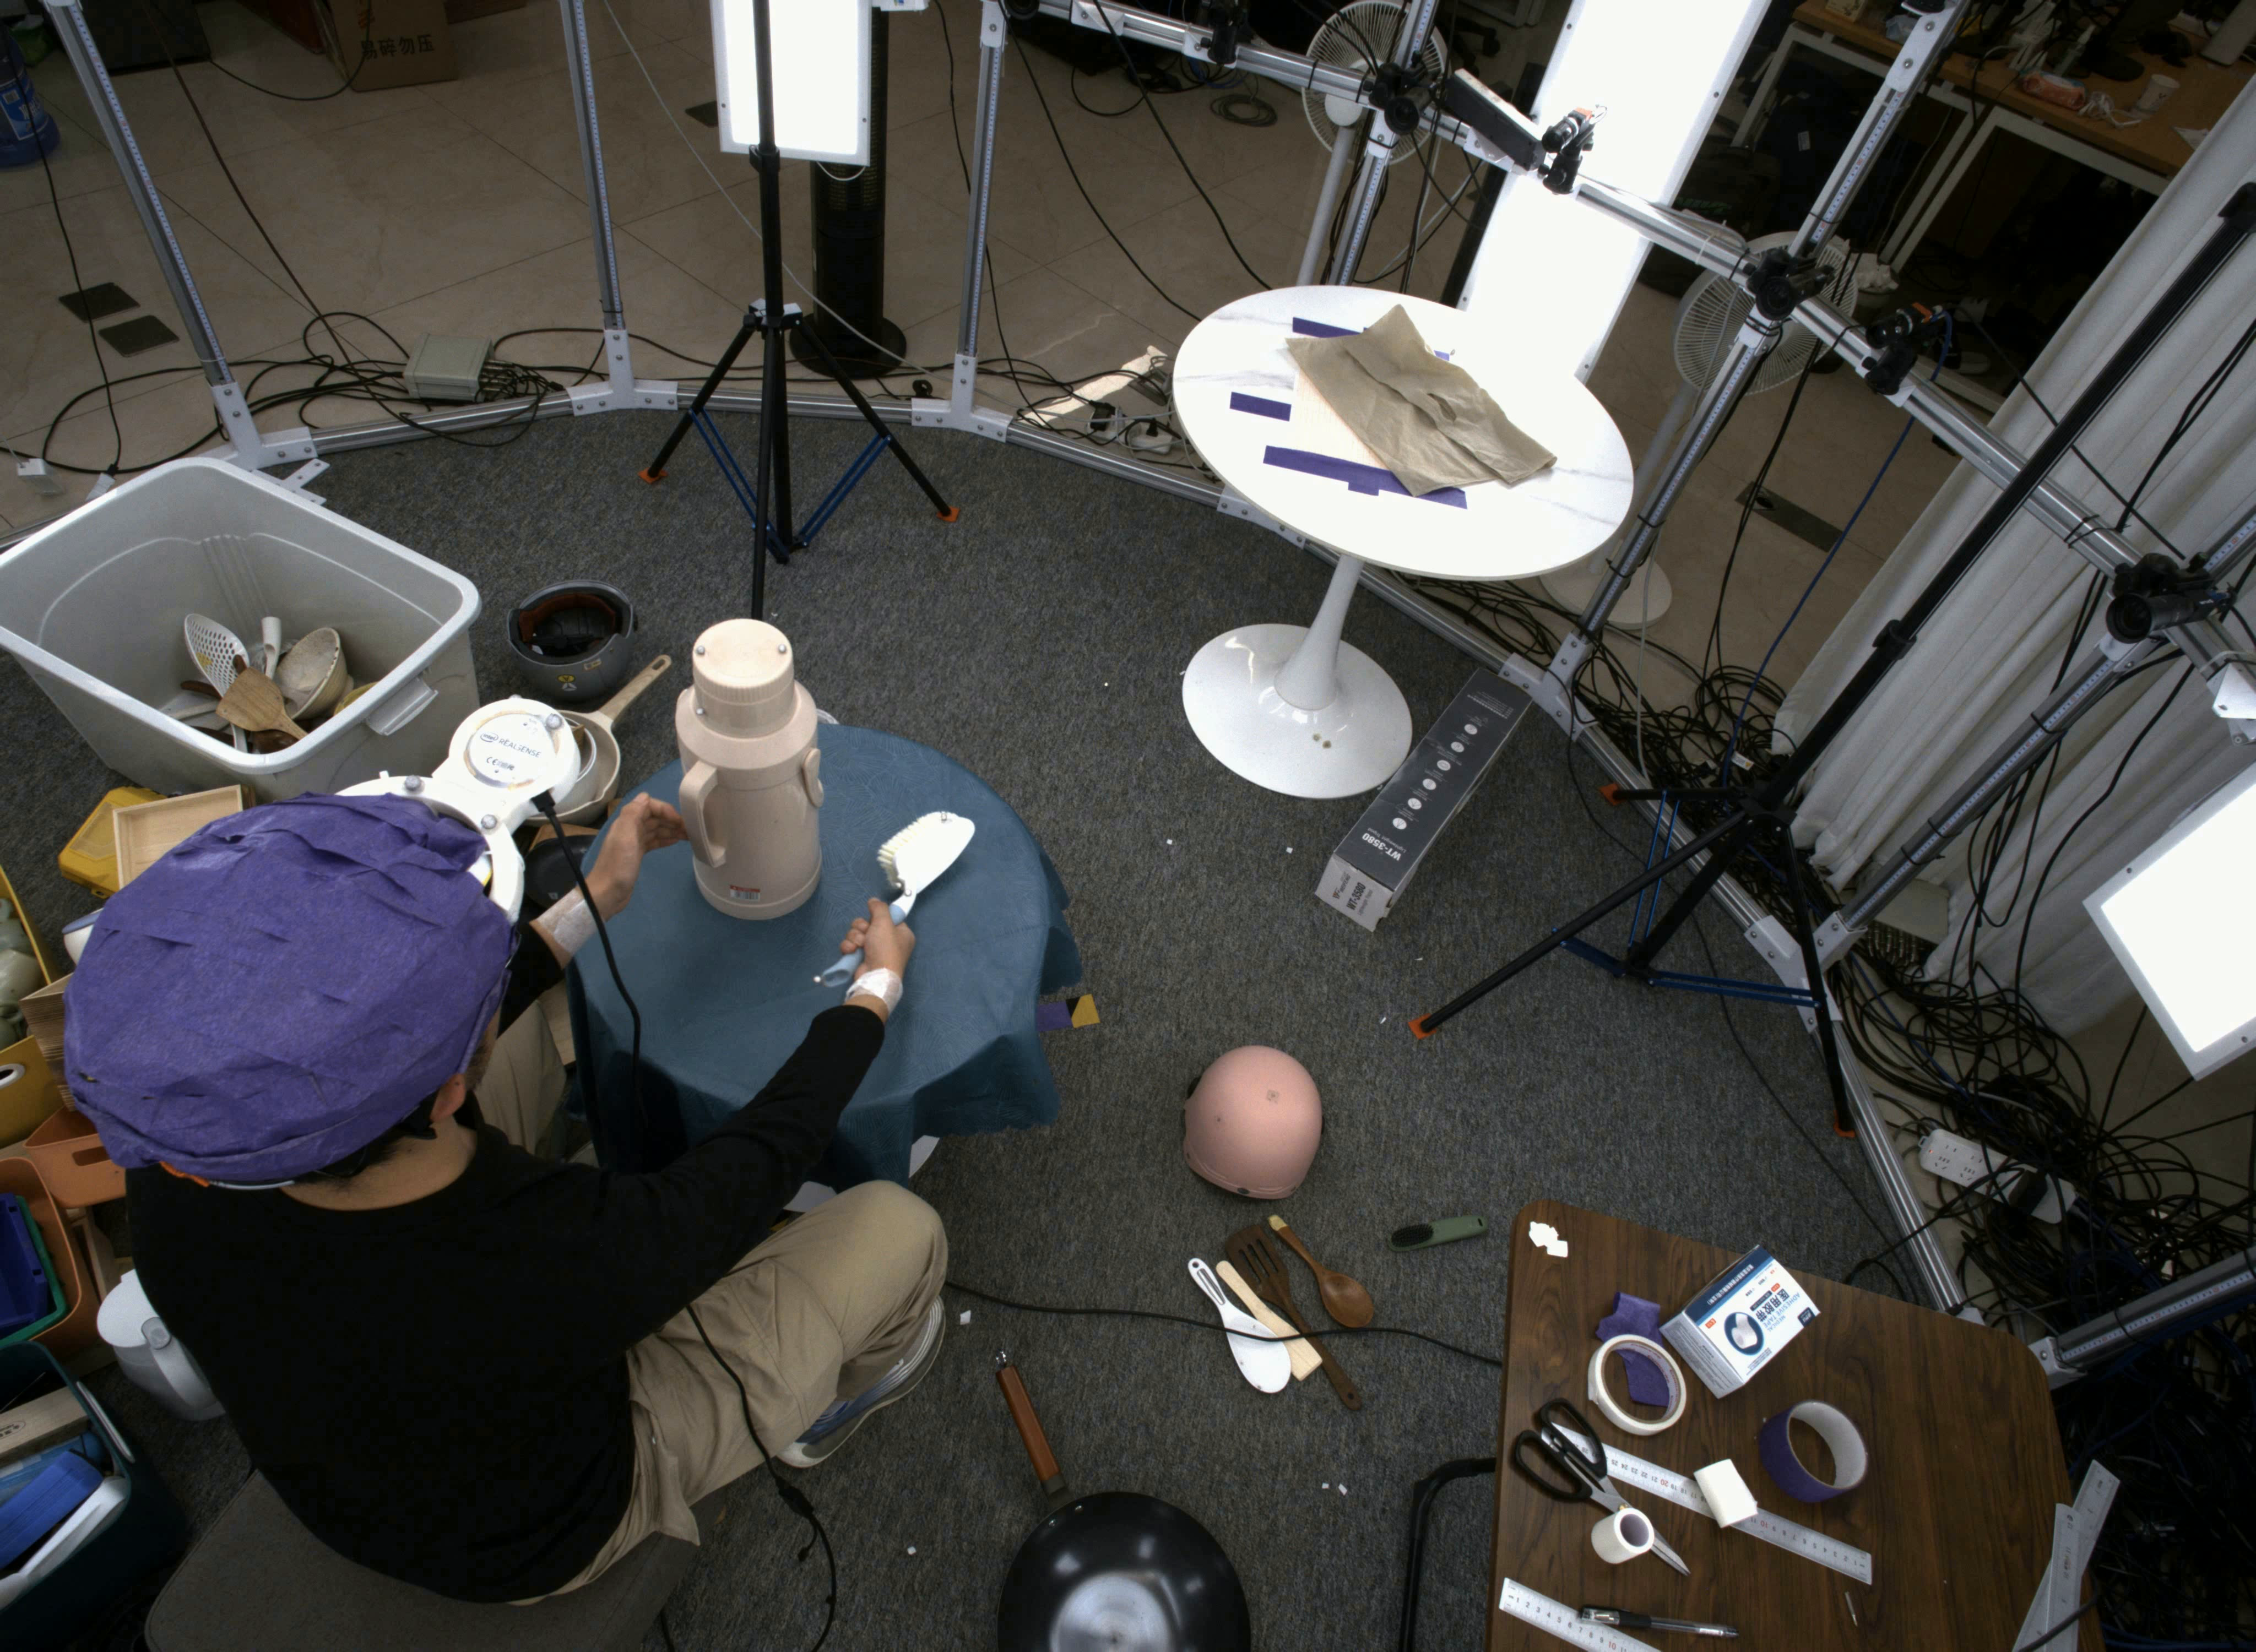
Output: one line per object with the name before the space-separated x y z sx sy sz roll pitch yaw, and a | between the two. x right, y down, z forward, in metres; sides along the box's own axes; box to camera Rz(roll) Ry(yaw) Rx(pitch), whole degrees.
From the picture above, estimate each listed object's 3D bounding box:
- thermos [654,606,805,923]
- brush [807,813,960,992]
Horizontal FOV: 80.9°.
thermos | -0.469 -0.058 1.493 0.173 0.414 0.205 23 51 5
brush | -0.321 0.083 1.609 0.084 0.084 0.324 44 46 -8
